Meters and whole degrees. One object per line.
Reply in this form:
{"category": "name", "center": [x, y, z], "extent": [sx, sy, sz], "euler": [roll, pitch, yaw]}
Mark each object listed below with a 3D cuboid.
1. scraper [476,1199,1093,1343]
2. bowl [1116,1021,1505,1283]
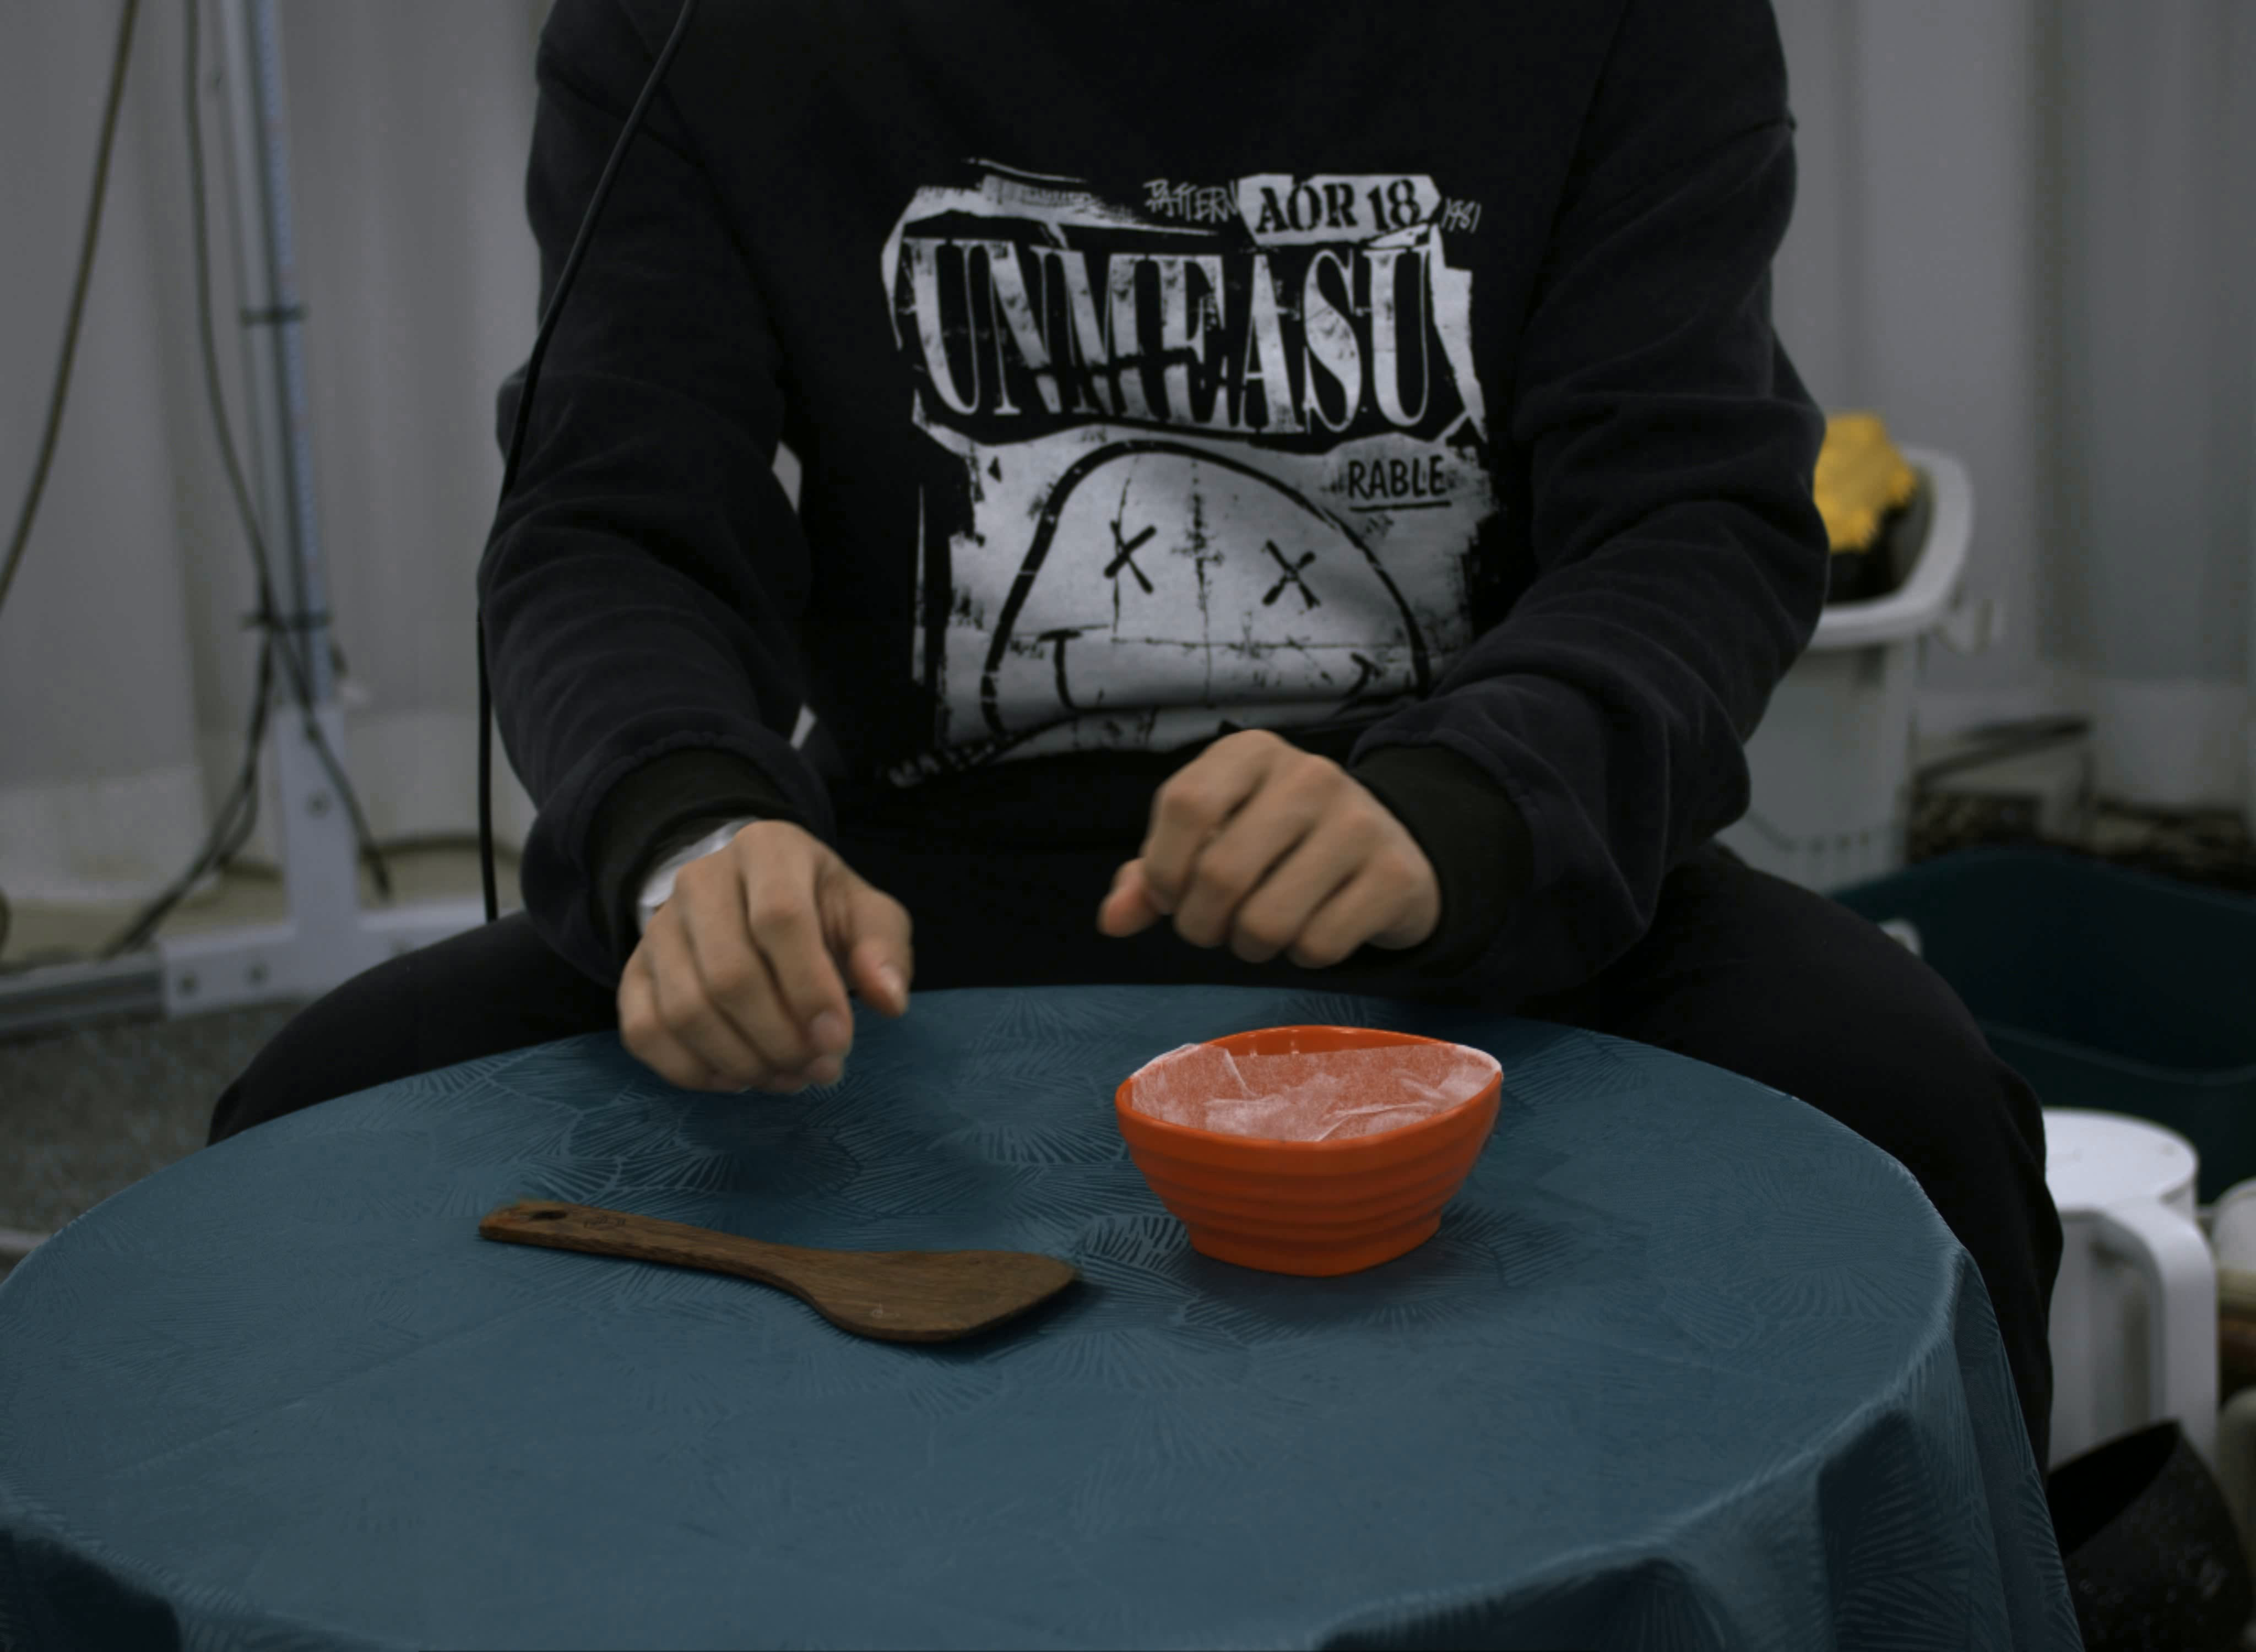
{"category": "scraper", "center": [-0.111, 0.132, 1.656], "extent": [0.212, 0.011, 0.076], "euler": [6, 17, 33]}
{"category": "bowl", "center": [0.056, 0.101, 1.658], "extent": [0.118, 0.051, 0.120], "euler": [-3, 17, 1]}
